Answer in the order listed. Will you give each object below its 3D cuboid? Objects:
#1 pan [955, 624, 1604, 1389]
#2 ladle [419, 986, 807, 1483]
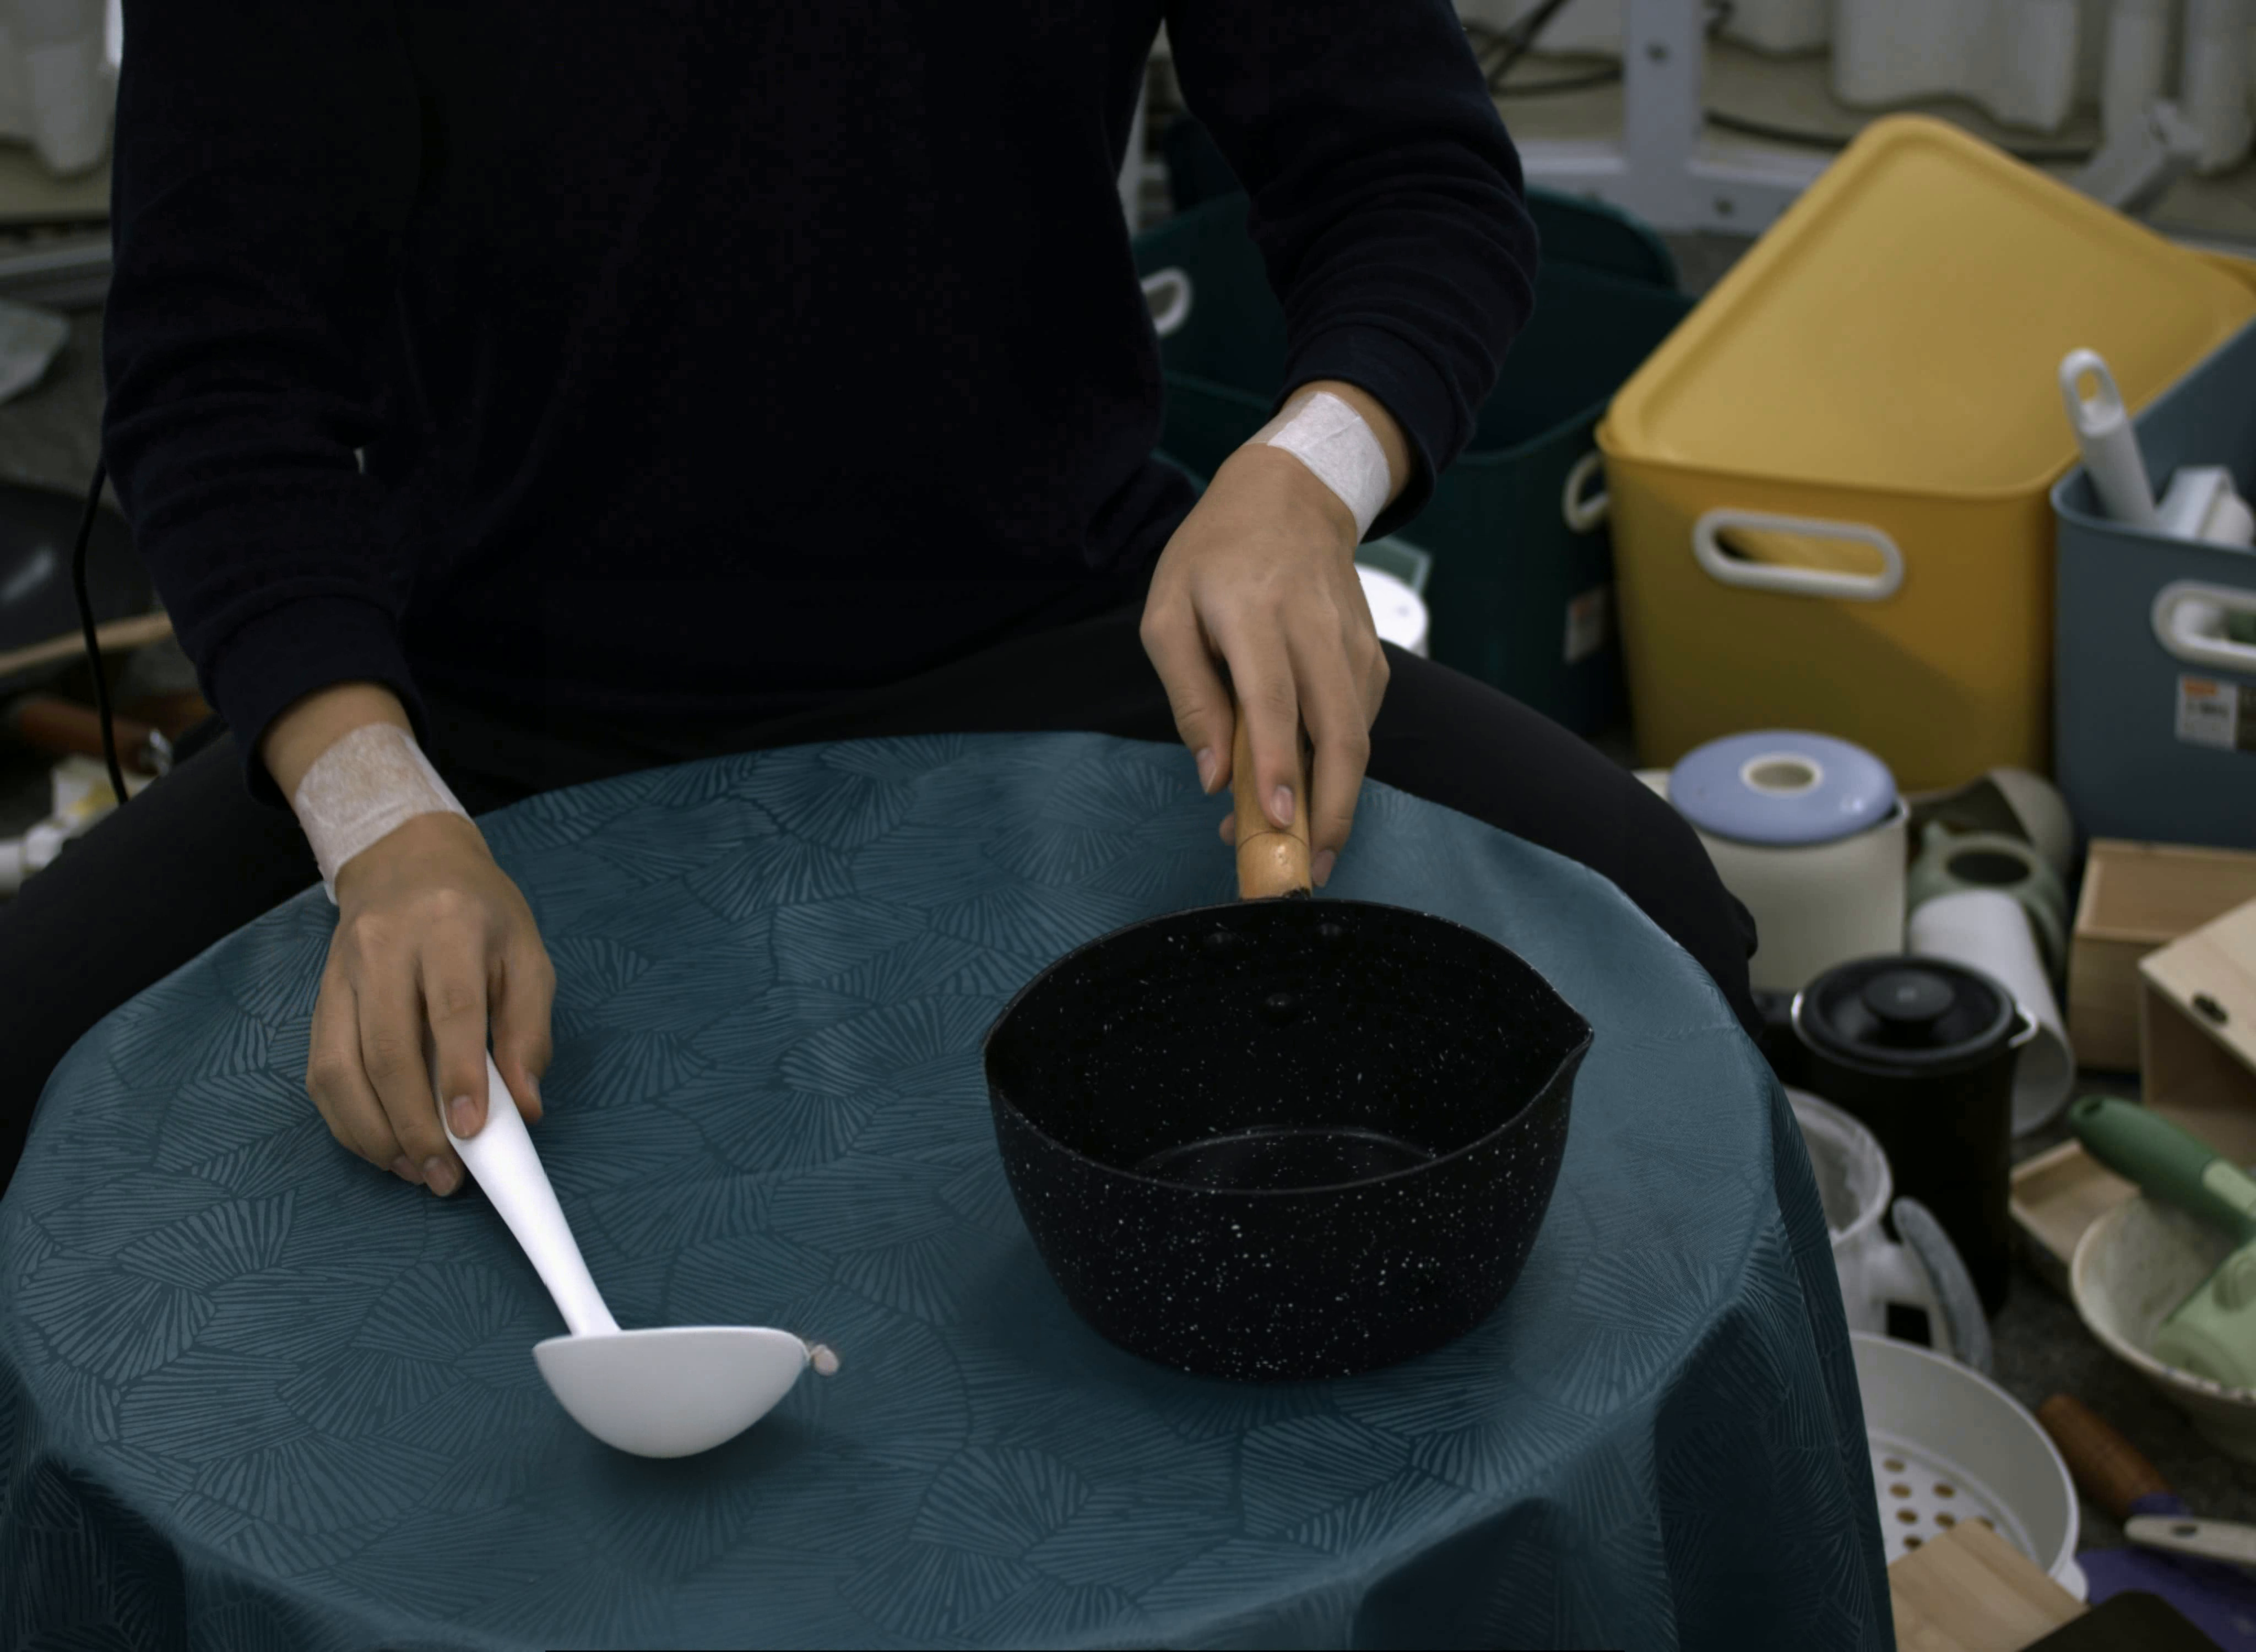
[{"bbox_3d":[0.048,0.056,1.868,0.206,0.107,0.348,-4,29,1],"label":"pan"},{"bbox_3d":[-0.180,0.120,1.812,0.090,0.069,0.296,-2,28,-20],"label":"ladle"}]
